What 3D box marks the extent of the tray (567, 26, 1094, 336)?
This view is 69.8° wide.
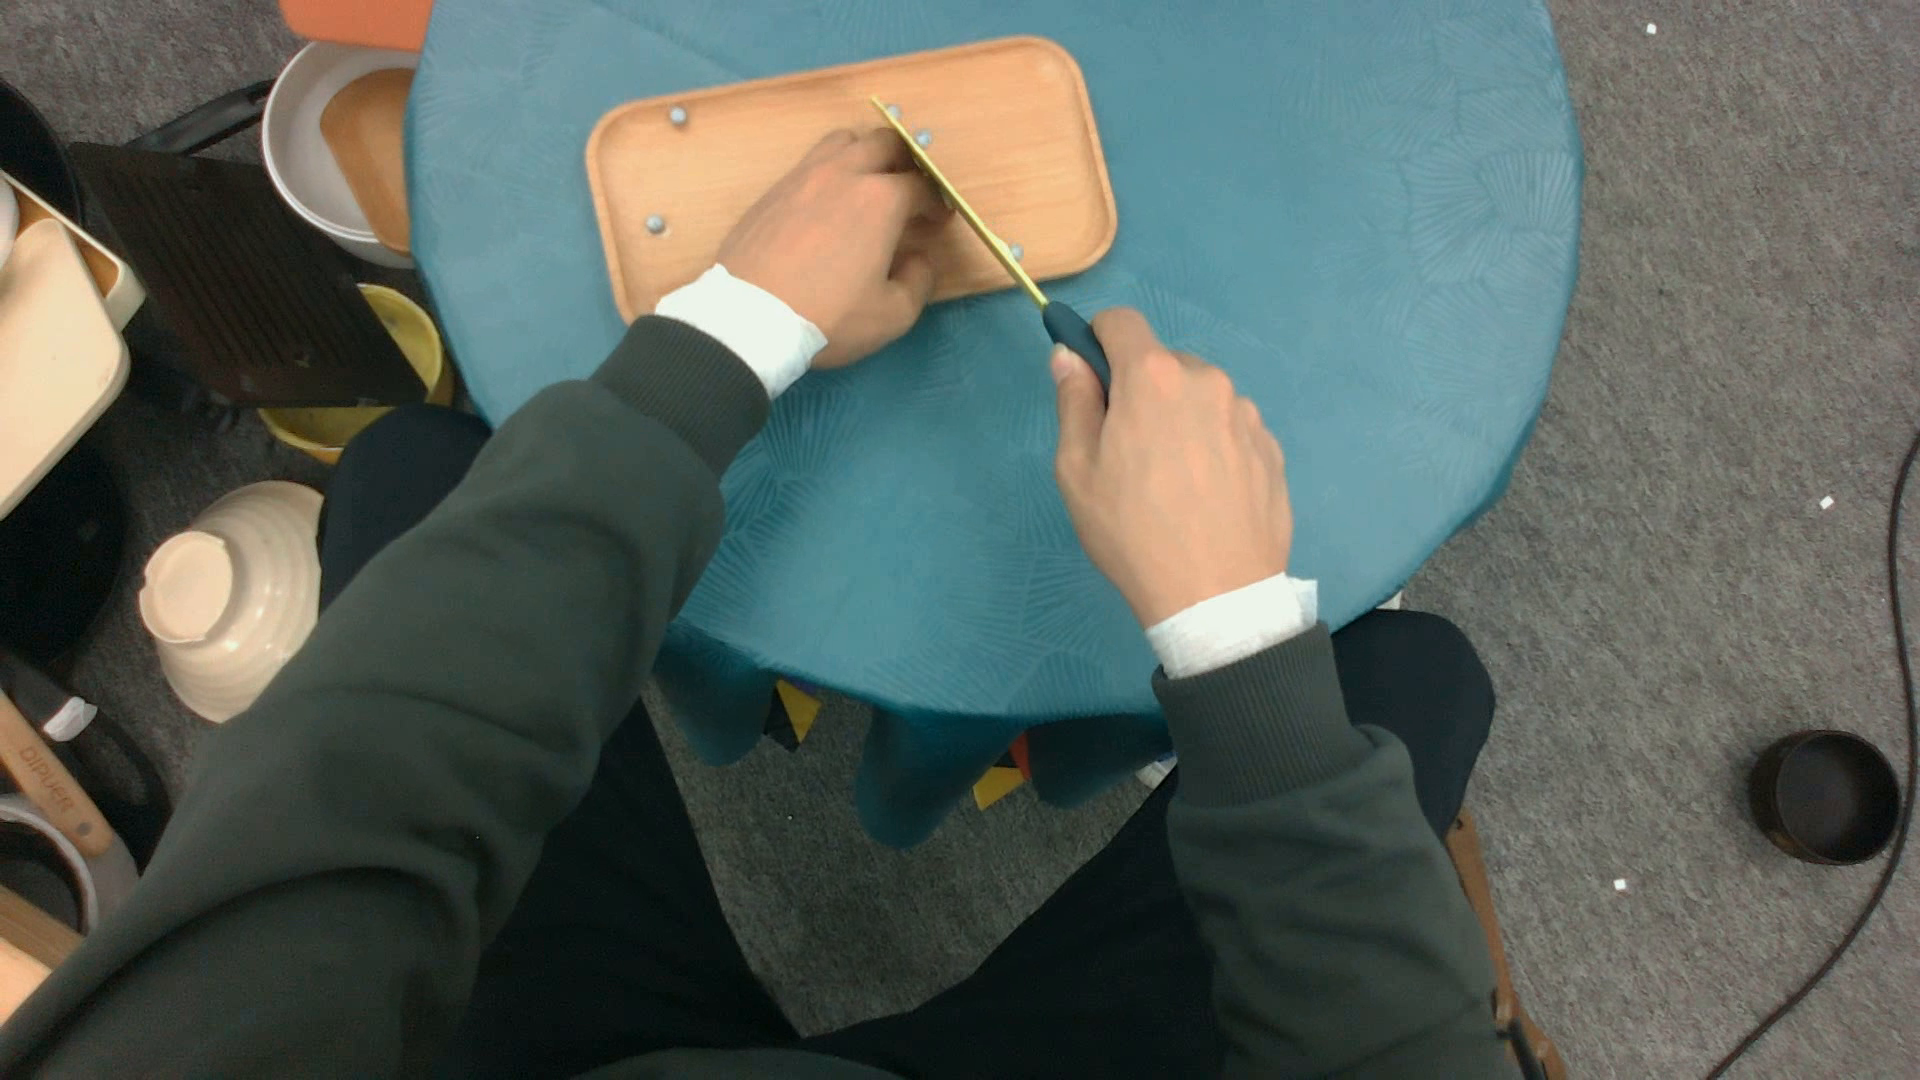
[{"bbox_3d":[-0.062,-0.181,0.688,0.251,0.023,0.130,-12,85,-11],"label":"tray"}]

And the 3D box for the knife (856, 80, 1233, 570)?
[{"bbox_3d":[0.030,-0.103,0.616,0.027,0.081,0.290,-37,73,8],"label":"knife"}]
